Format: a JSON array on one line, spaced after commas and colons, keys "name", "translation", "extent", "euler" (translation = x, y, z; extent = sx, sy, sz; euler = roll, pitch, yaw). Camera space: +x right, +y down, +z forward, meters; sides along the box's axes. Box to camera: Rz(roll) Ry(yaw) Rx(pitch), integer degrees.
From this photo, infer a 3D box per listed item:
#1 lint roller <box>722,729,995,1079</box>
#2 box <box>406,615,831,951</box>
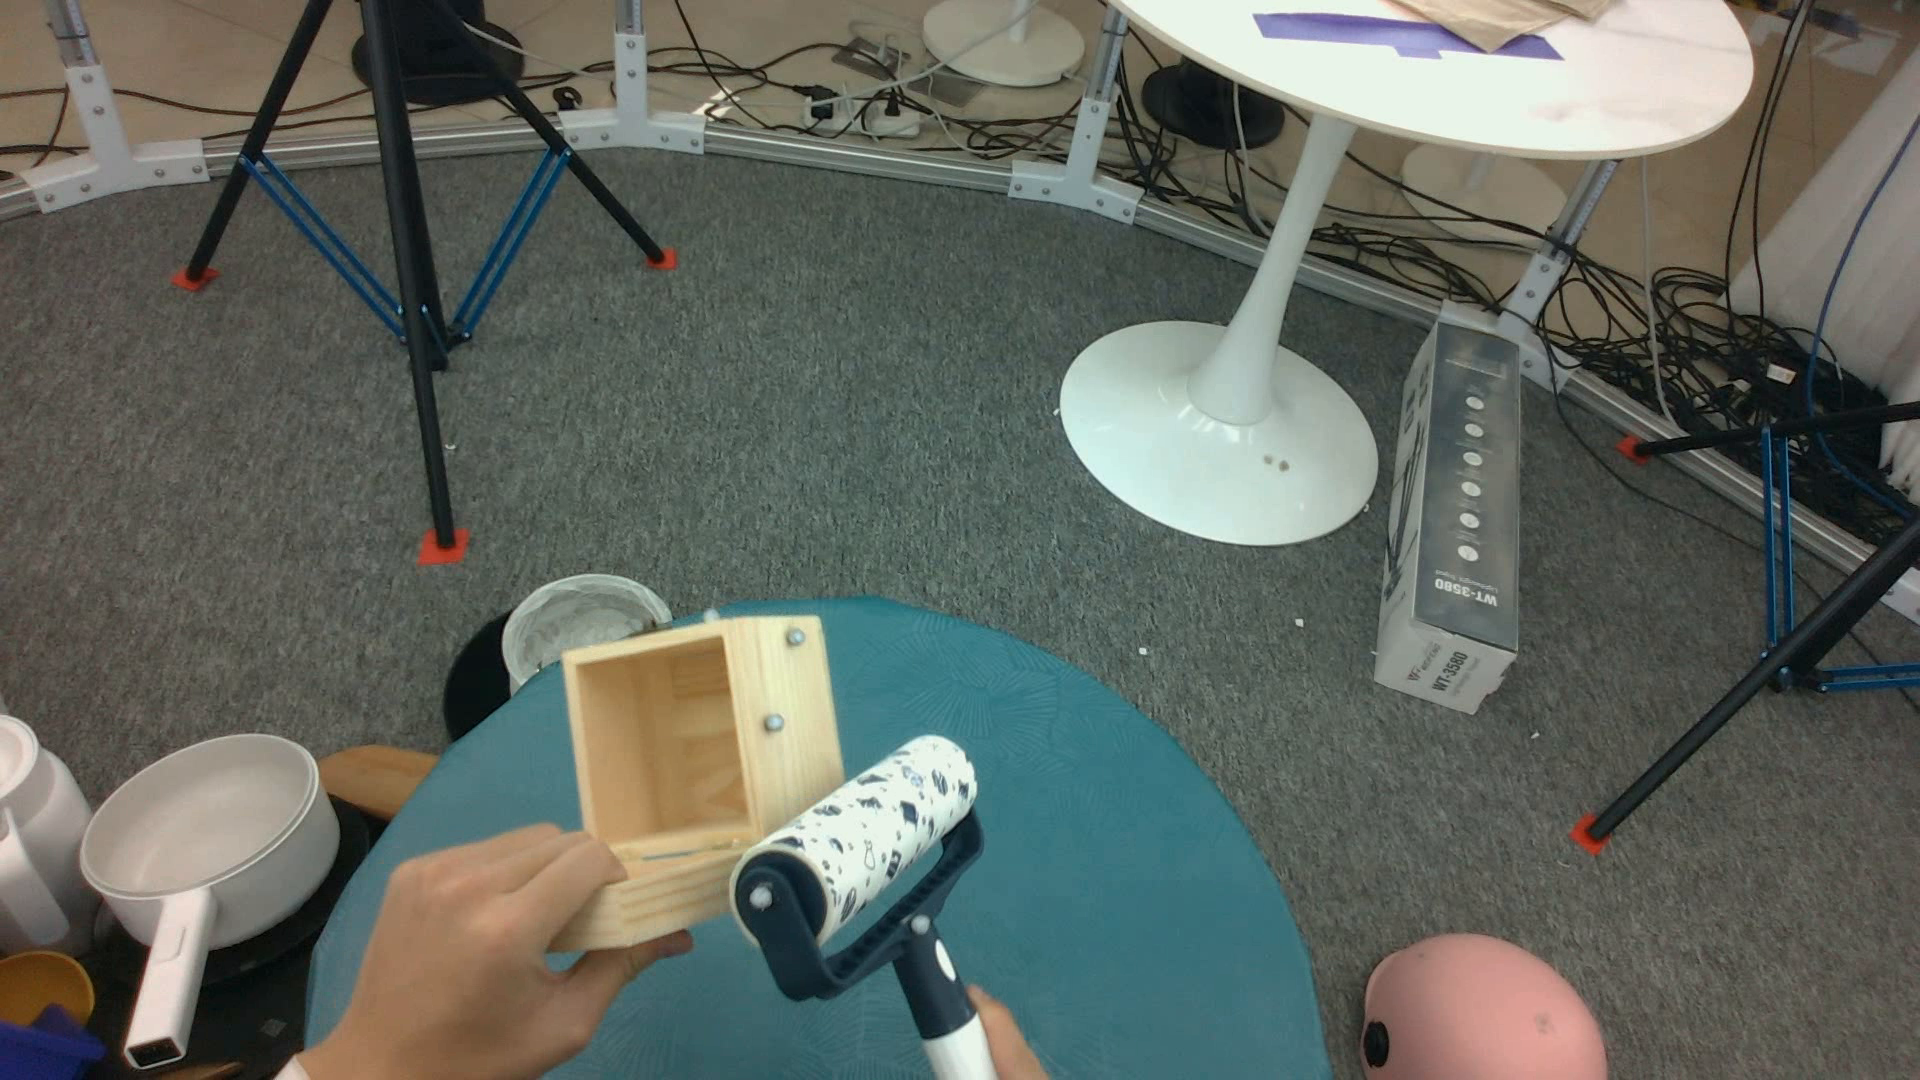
[{"name": "lint roller", "translation": [-0.004, 0.216, 0.610], "extent": [0.247, 0.050, 0.177], "euler": [64, 21, 1]}, {"name": "box", "translation": [-0.151, 0.101, 0.627], "extent": [0.102, 0.185, 0.134], "euler": [-13, 82, 24]}]
